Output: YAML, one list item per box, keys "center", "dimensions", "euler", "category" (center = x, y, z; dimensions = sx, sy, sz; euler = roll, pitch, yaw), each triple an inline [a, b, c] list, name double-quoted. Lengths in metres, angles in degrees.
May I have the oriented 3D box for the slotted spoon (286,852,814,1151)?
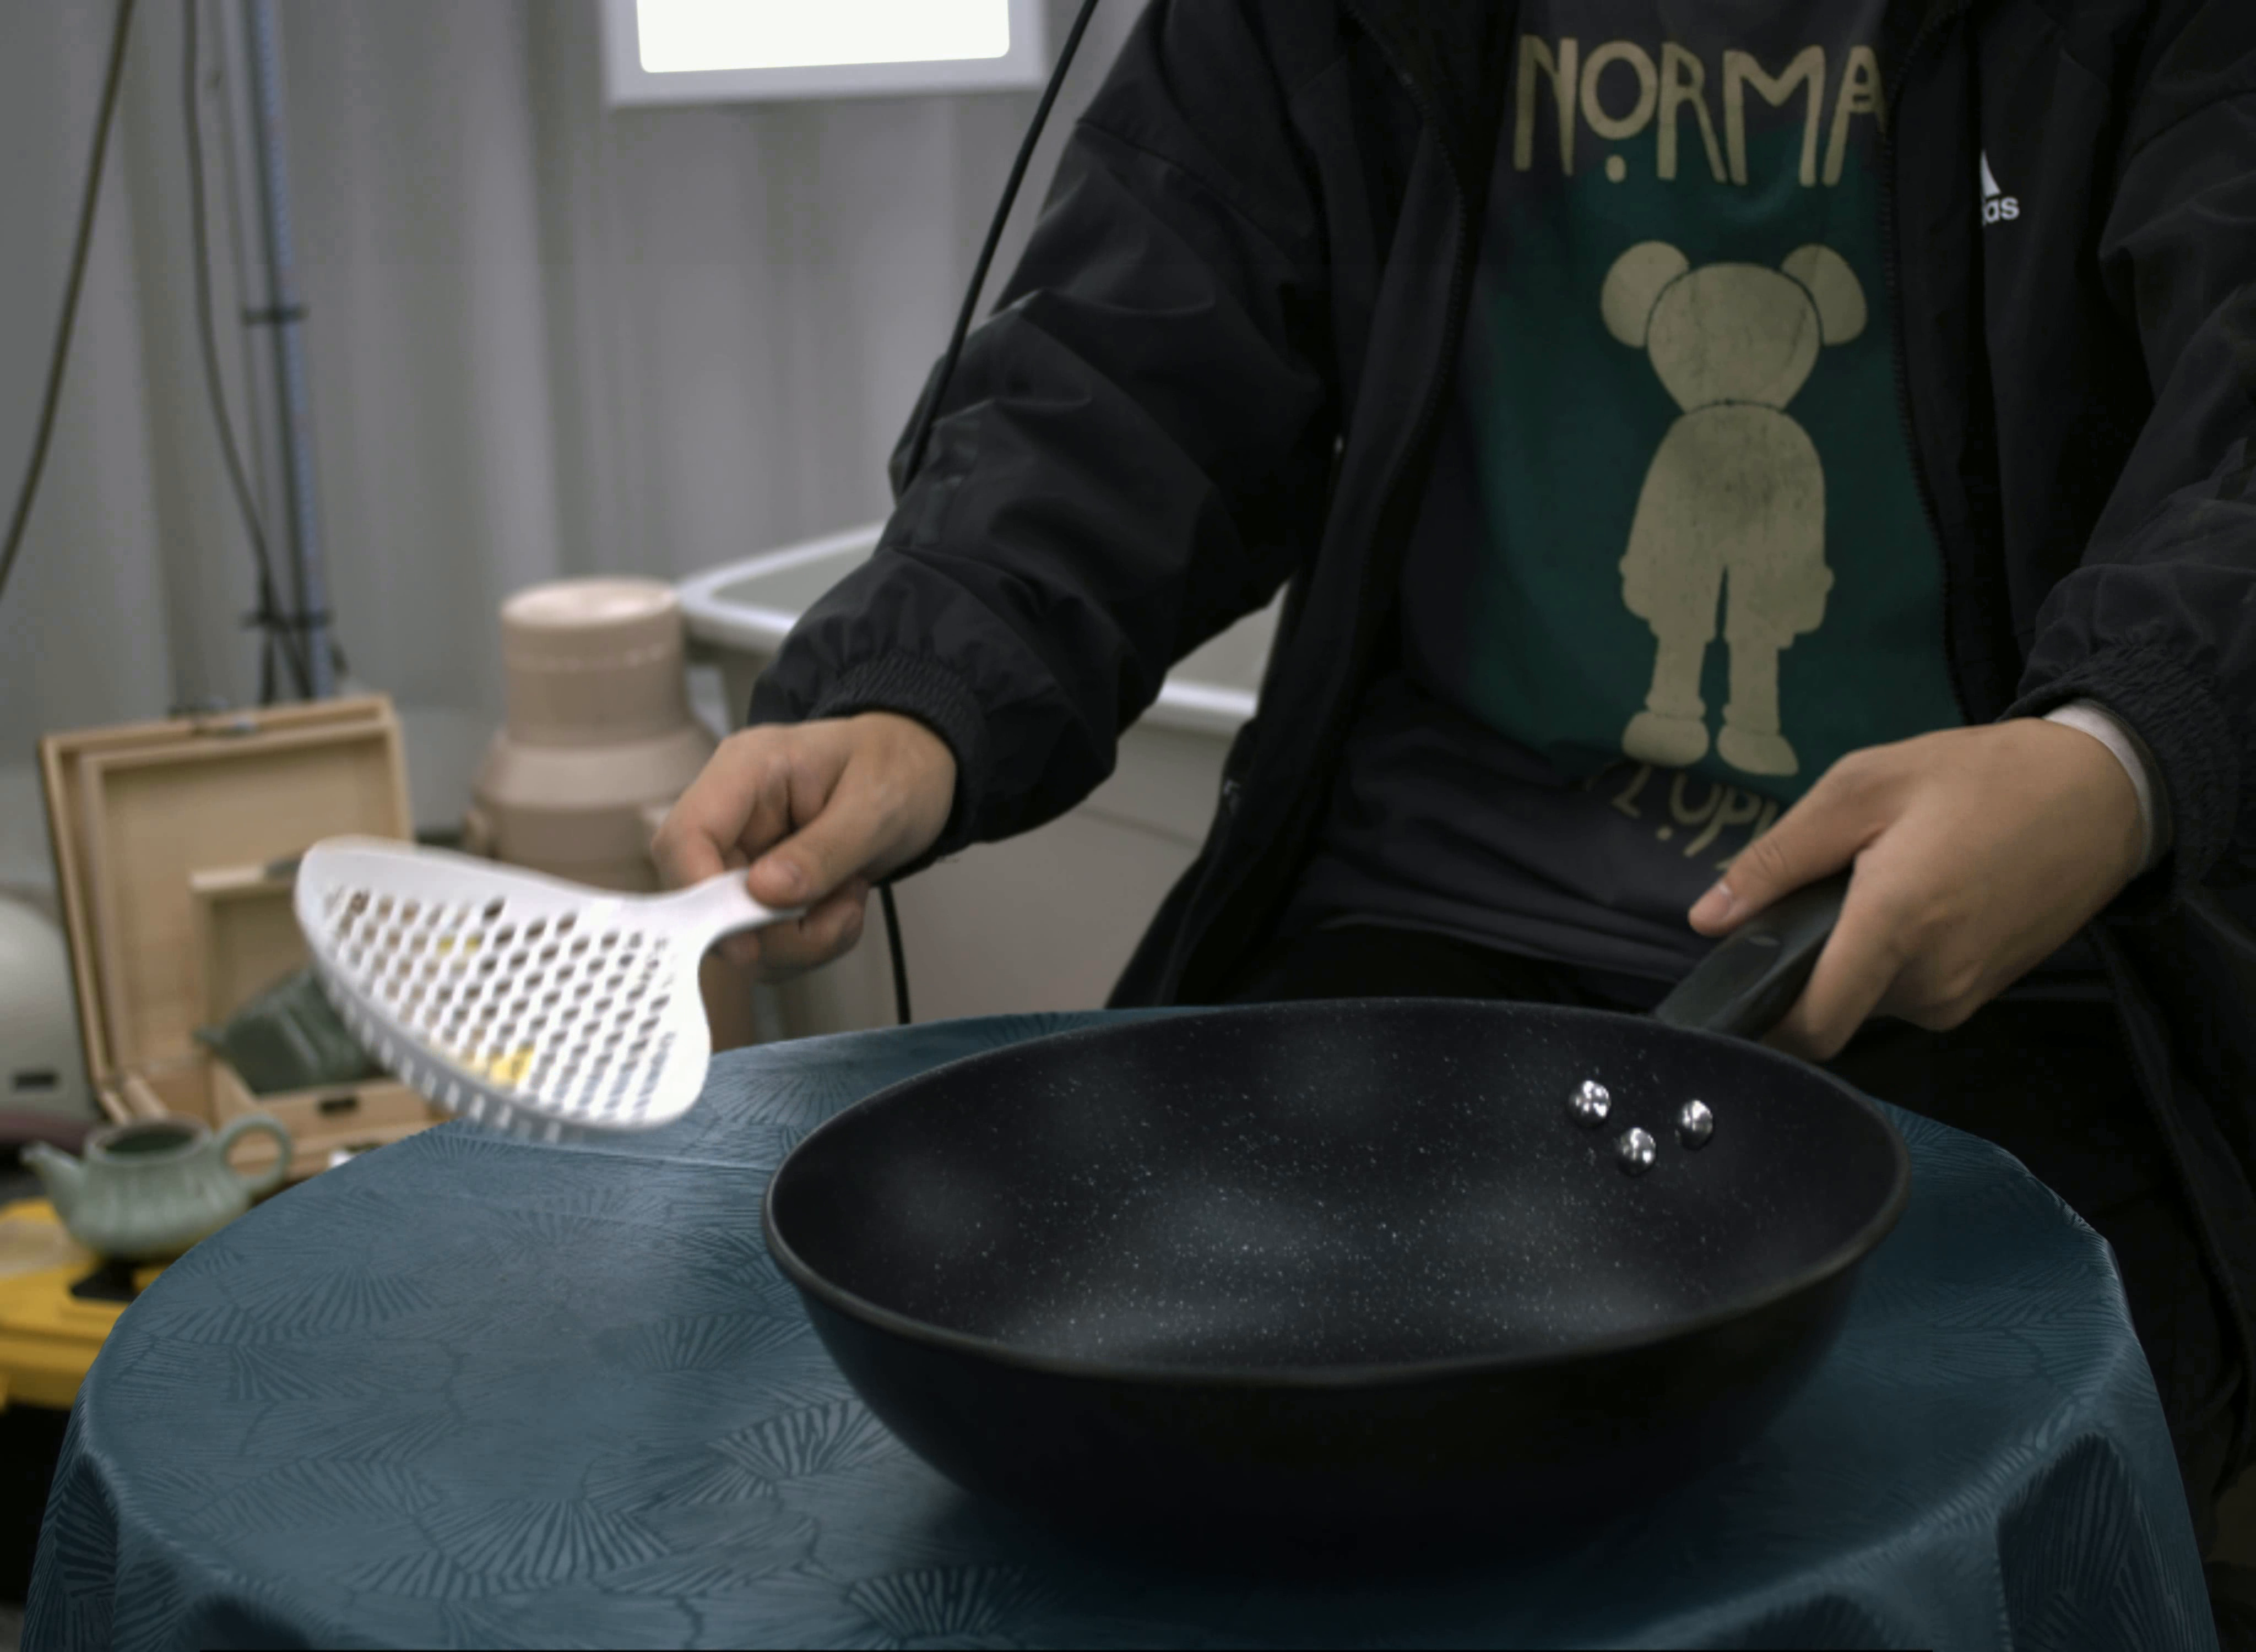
- center: [-0.154, 0.045, 1.704]
  dimensions: [0.137, 0.050, 0.348]
  euler: [35, 20, 12]
  category: "slotted spoon"

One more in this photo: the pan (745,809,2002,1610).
- center: [0.107, 0.105, 1.524]
  dimensions: [0.312, 0.111, 0.476]
  euler: [11, 21, 39]
  category: "pan"
